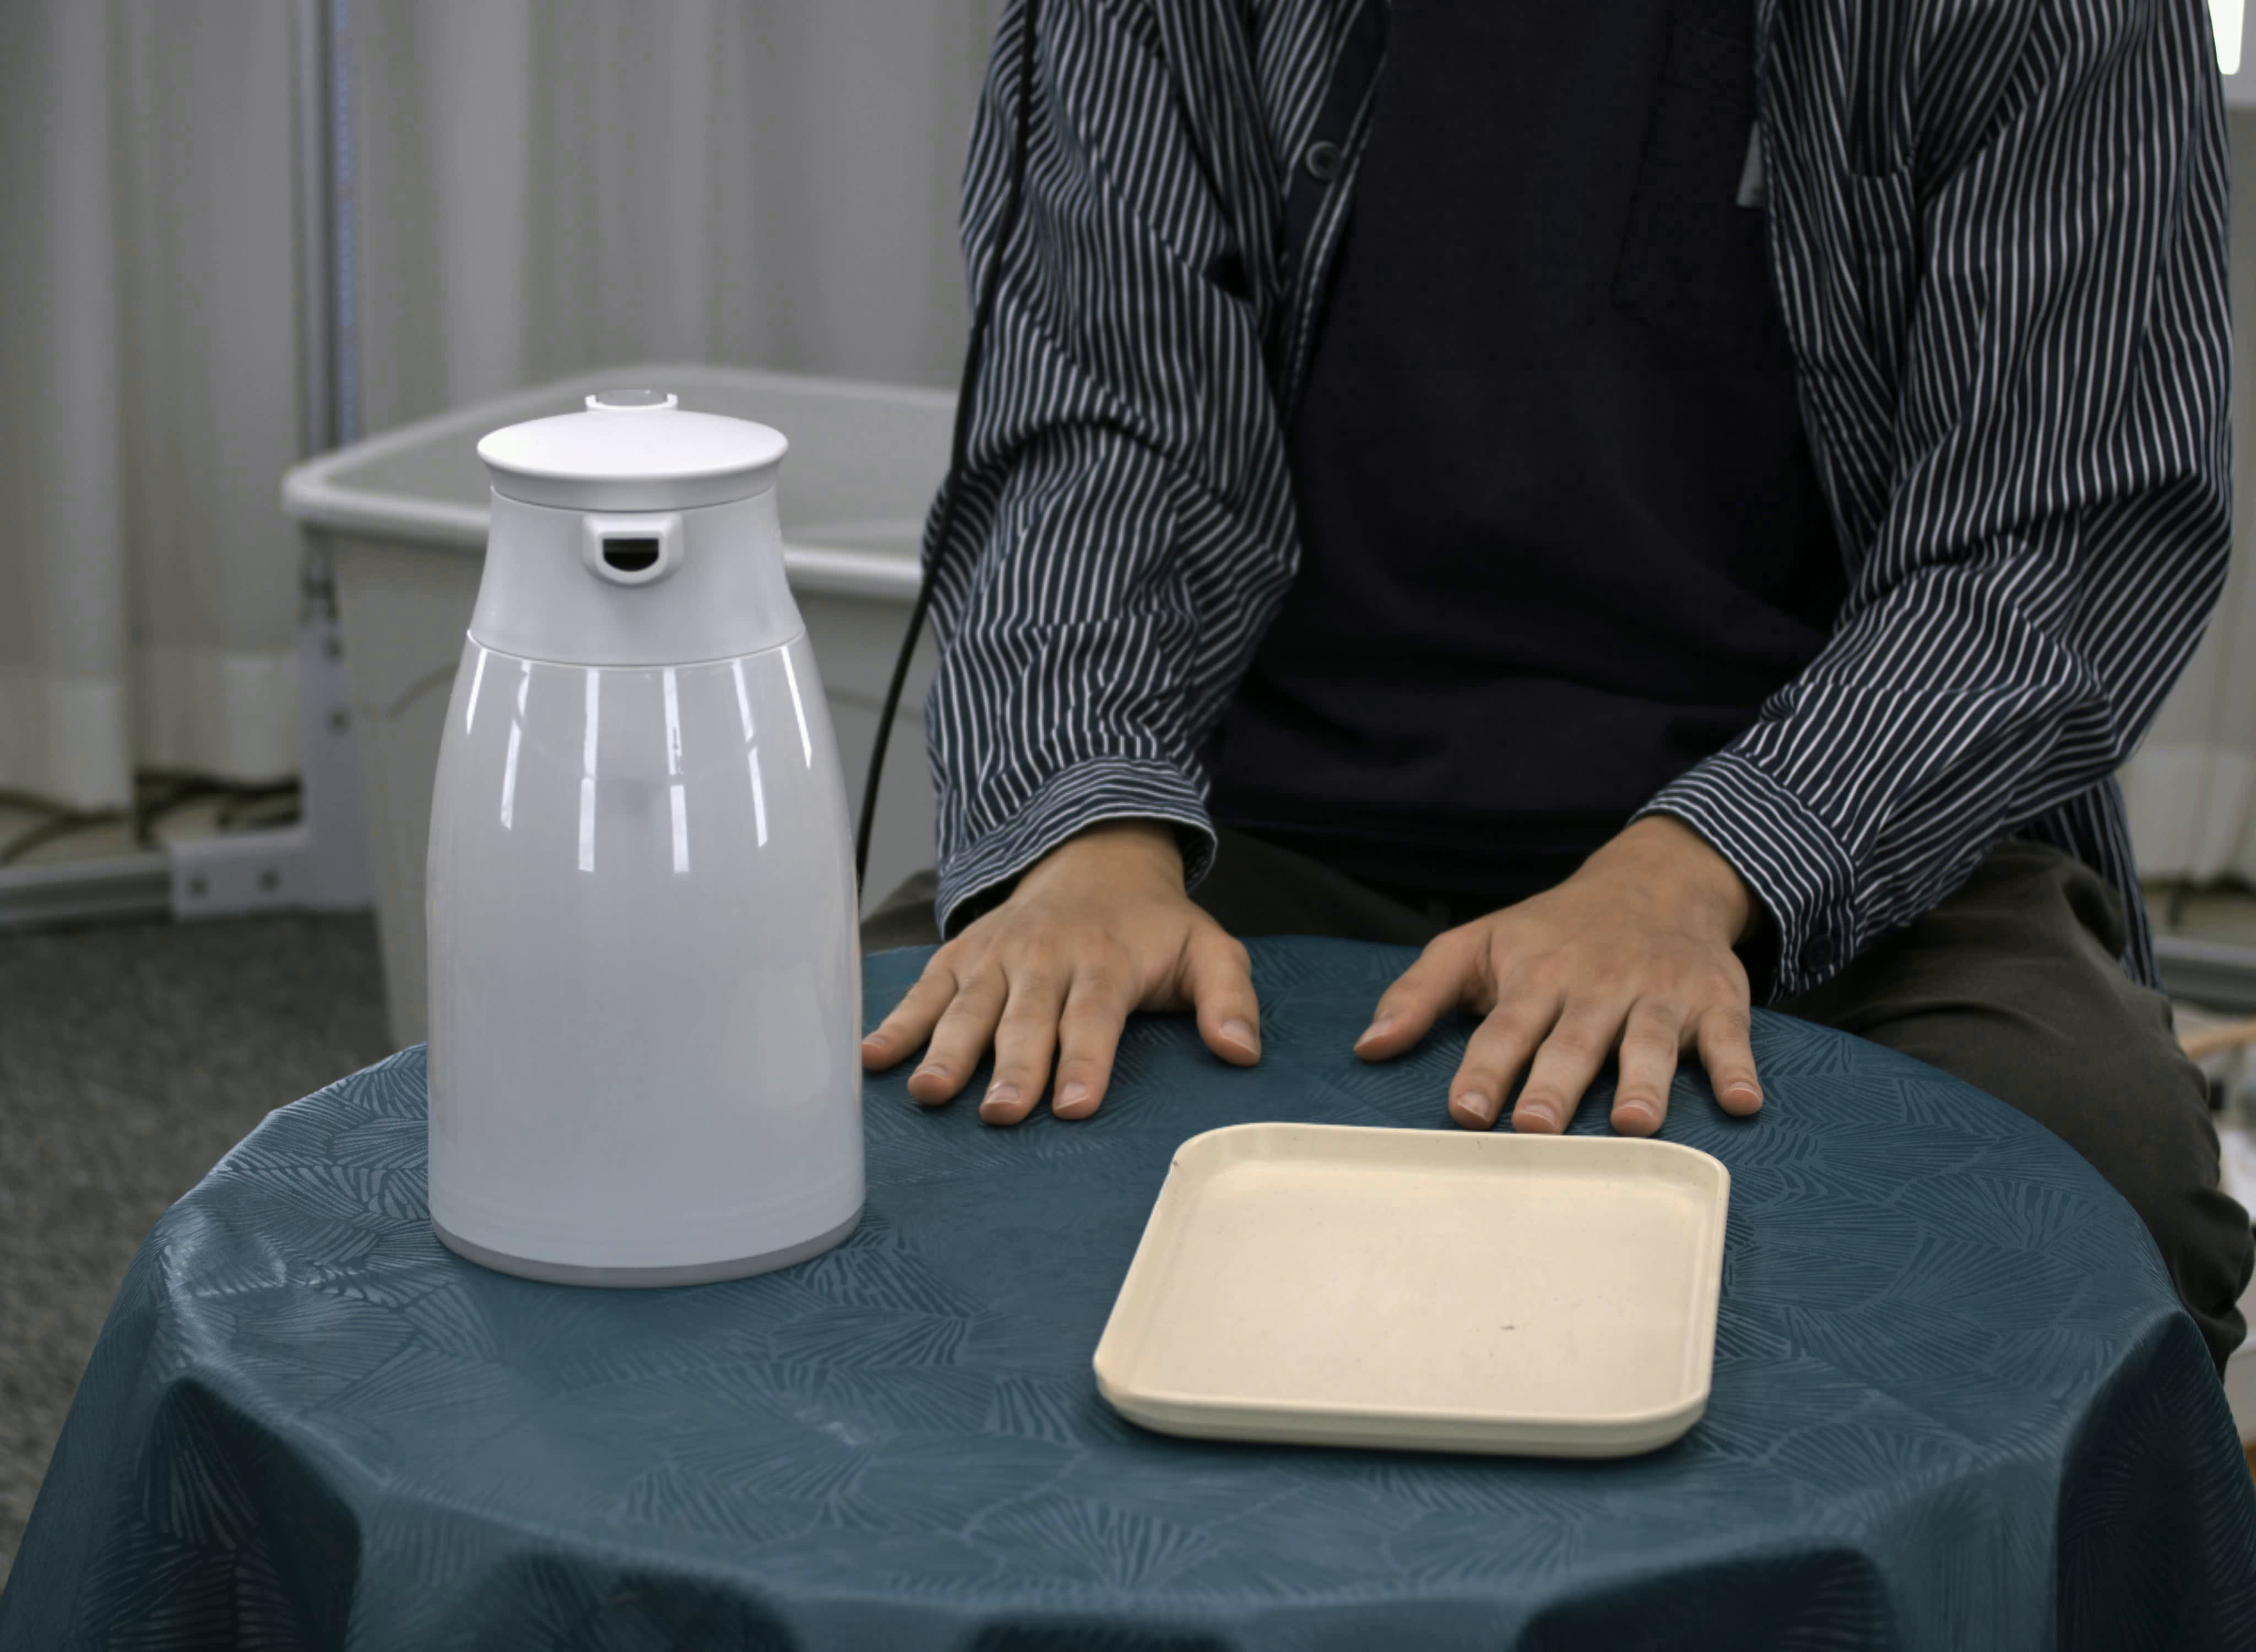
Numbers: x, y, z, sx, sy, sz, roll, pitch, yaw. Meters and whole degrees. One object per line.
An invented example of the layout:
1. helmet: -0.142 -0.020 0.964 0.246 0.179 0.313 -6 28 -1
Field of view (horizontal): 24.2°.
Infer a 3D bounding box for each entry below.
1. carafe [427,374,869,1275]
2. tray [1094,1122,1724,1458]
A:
1. carafe: -0.149 -0.009 1.587 0.132 0.250 0.166 -3 15 -9
2. tray: 0.085 0.133 1.525 0.170 0.017 0.239 3 15 7
